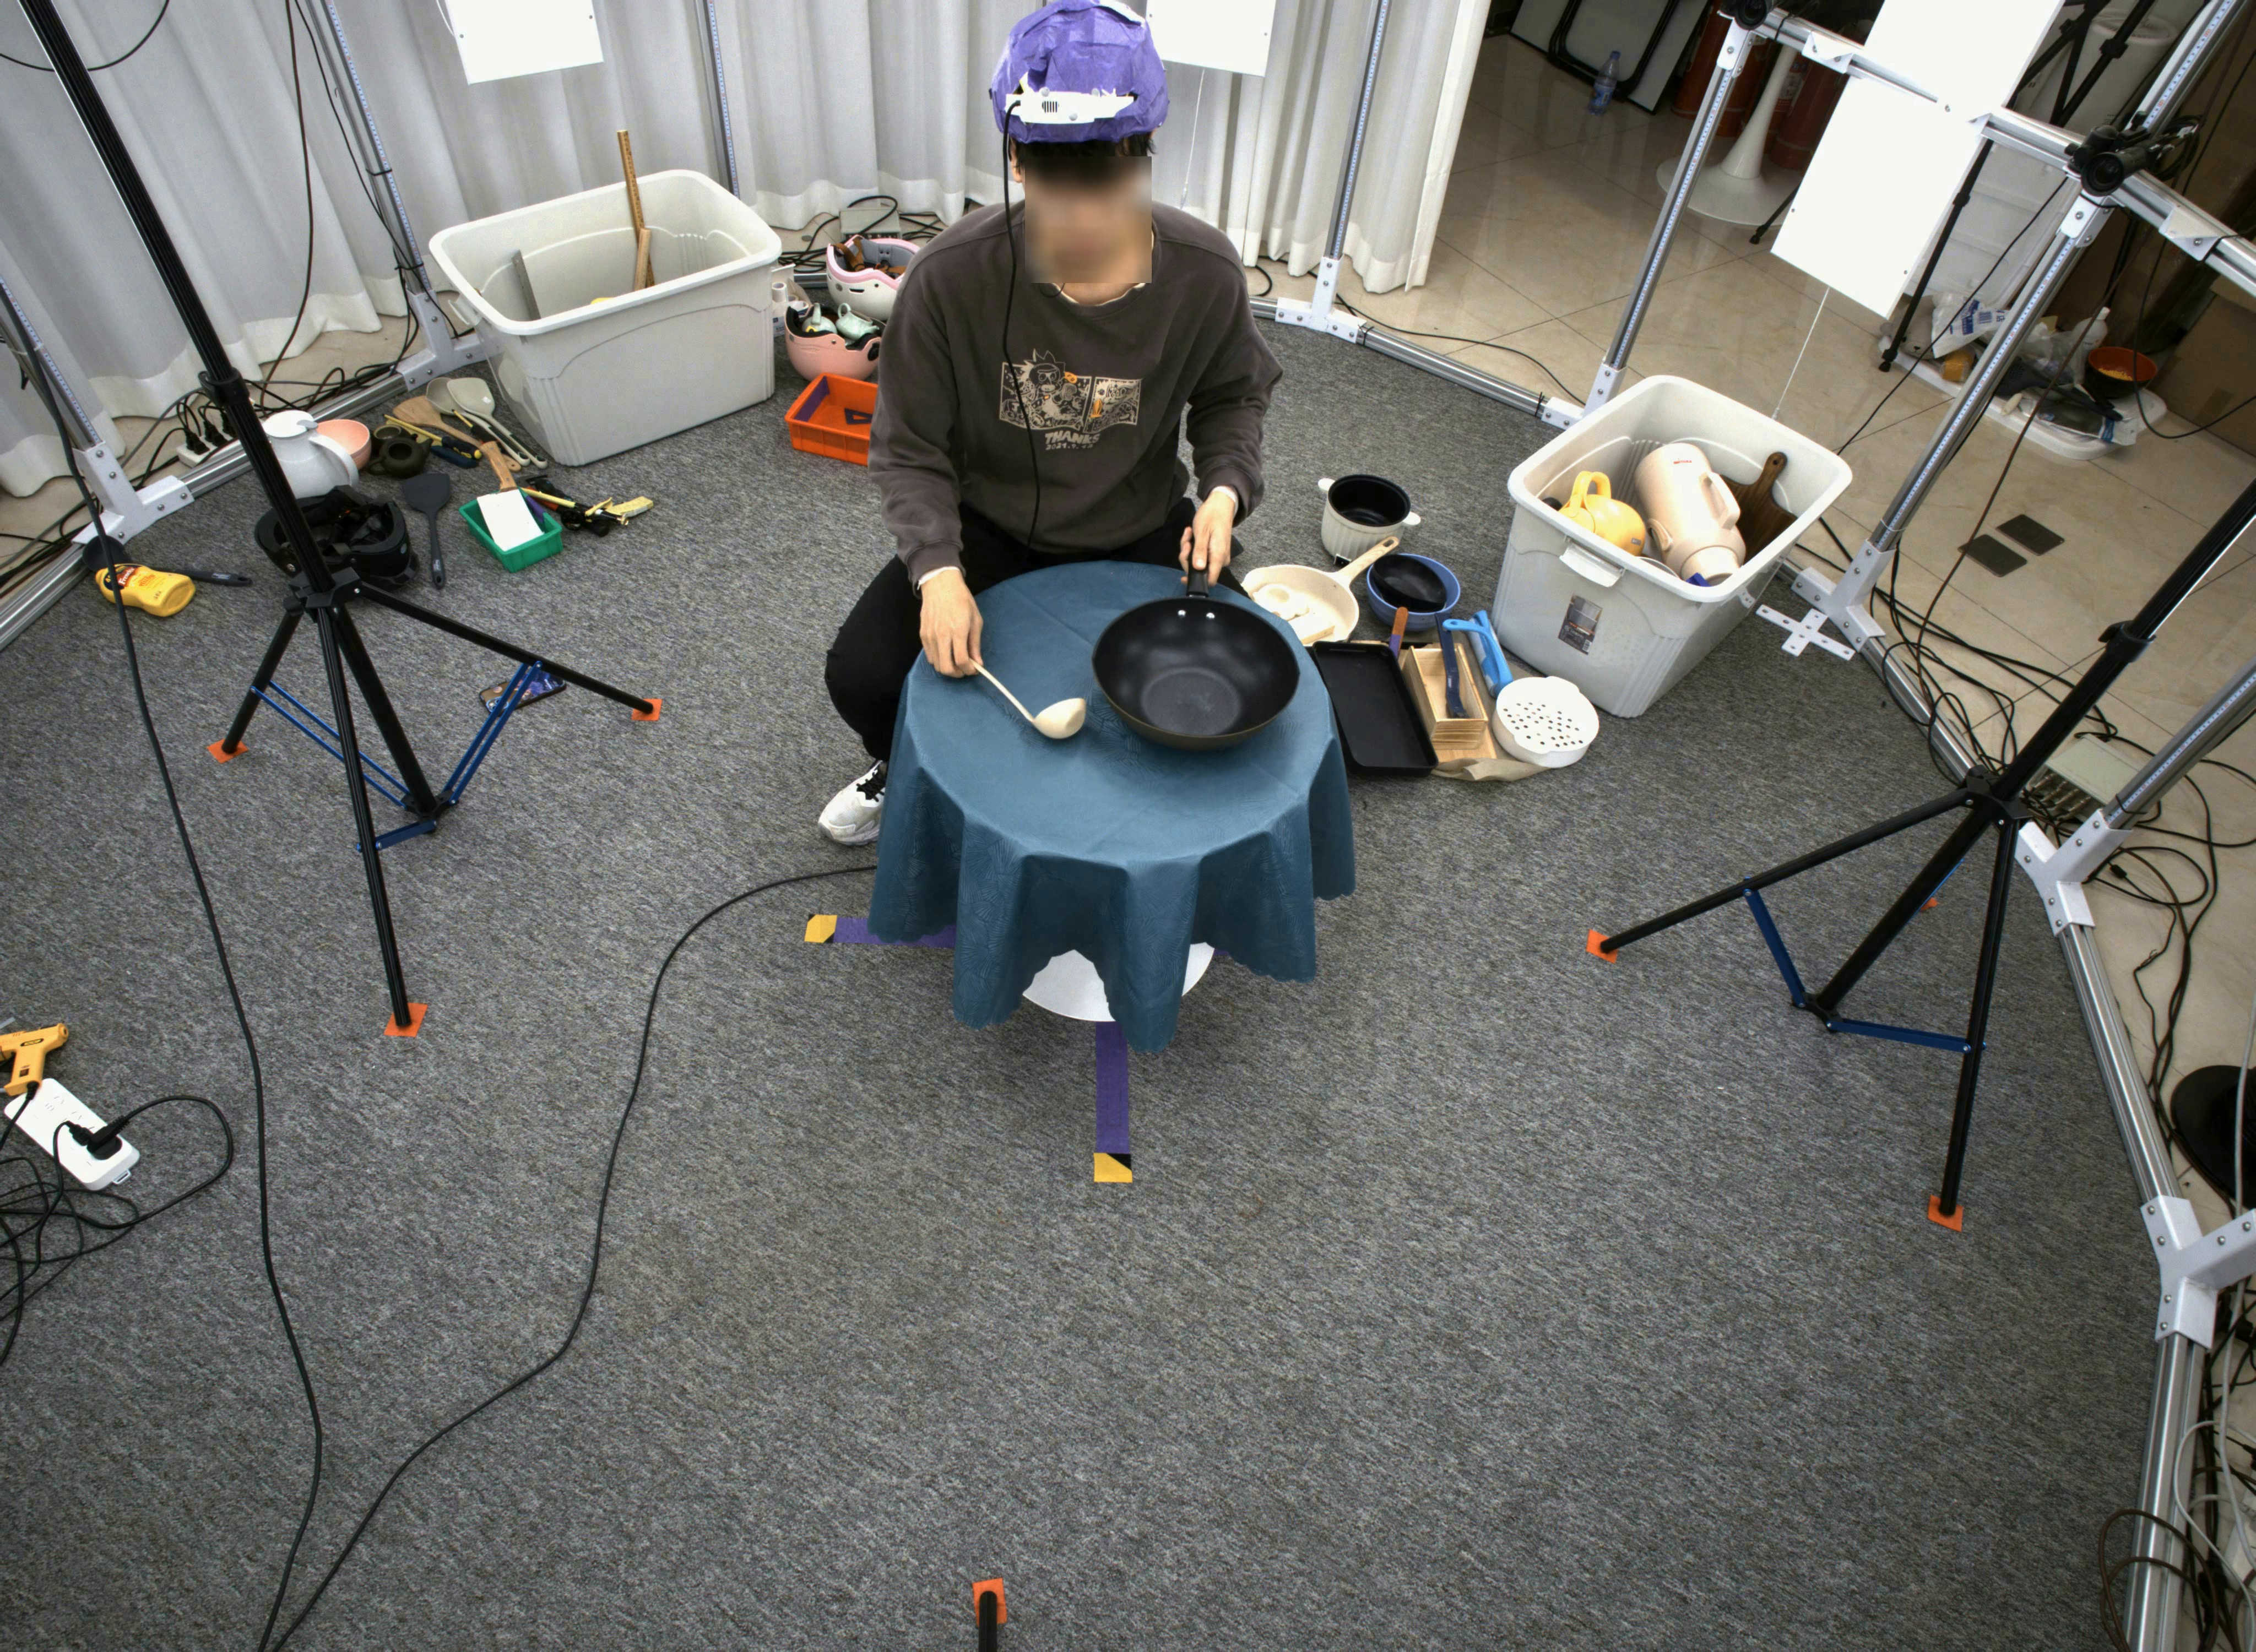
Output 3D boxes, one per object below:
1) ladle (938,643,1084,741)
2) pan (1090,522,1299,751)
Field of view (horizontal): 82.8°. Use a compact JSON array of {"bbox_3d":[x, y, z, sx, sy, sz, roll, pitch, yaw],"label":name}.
[{"bbox_3d":[-0.163,-0.211,1.783,0.258,0.072,0.072,41,23,23],"label":"ladle"},{"bbox_3d":[0.095,-0.268,1.850,0.288,0.085,0.475,4,48,0],"label":"pan"}]
